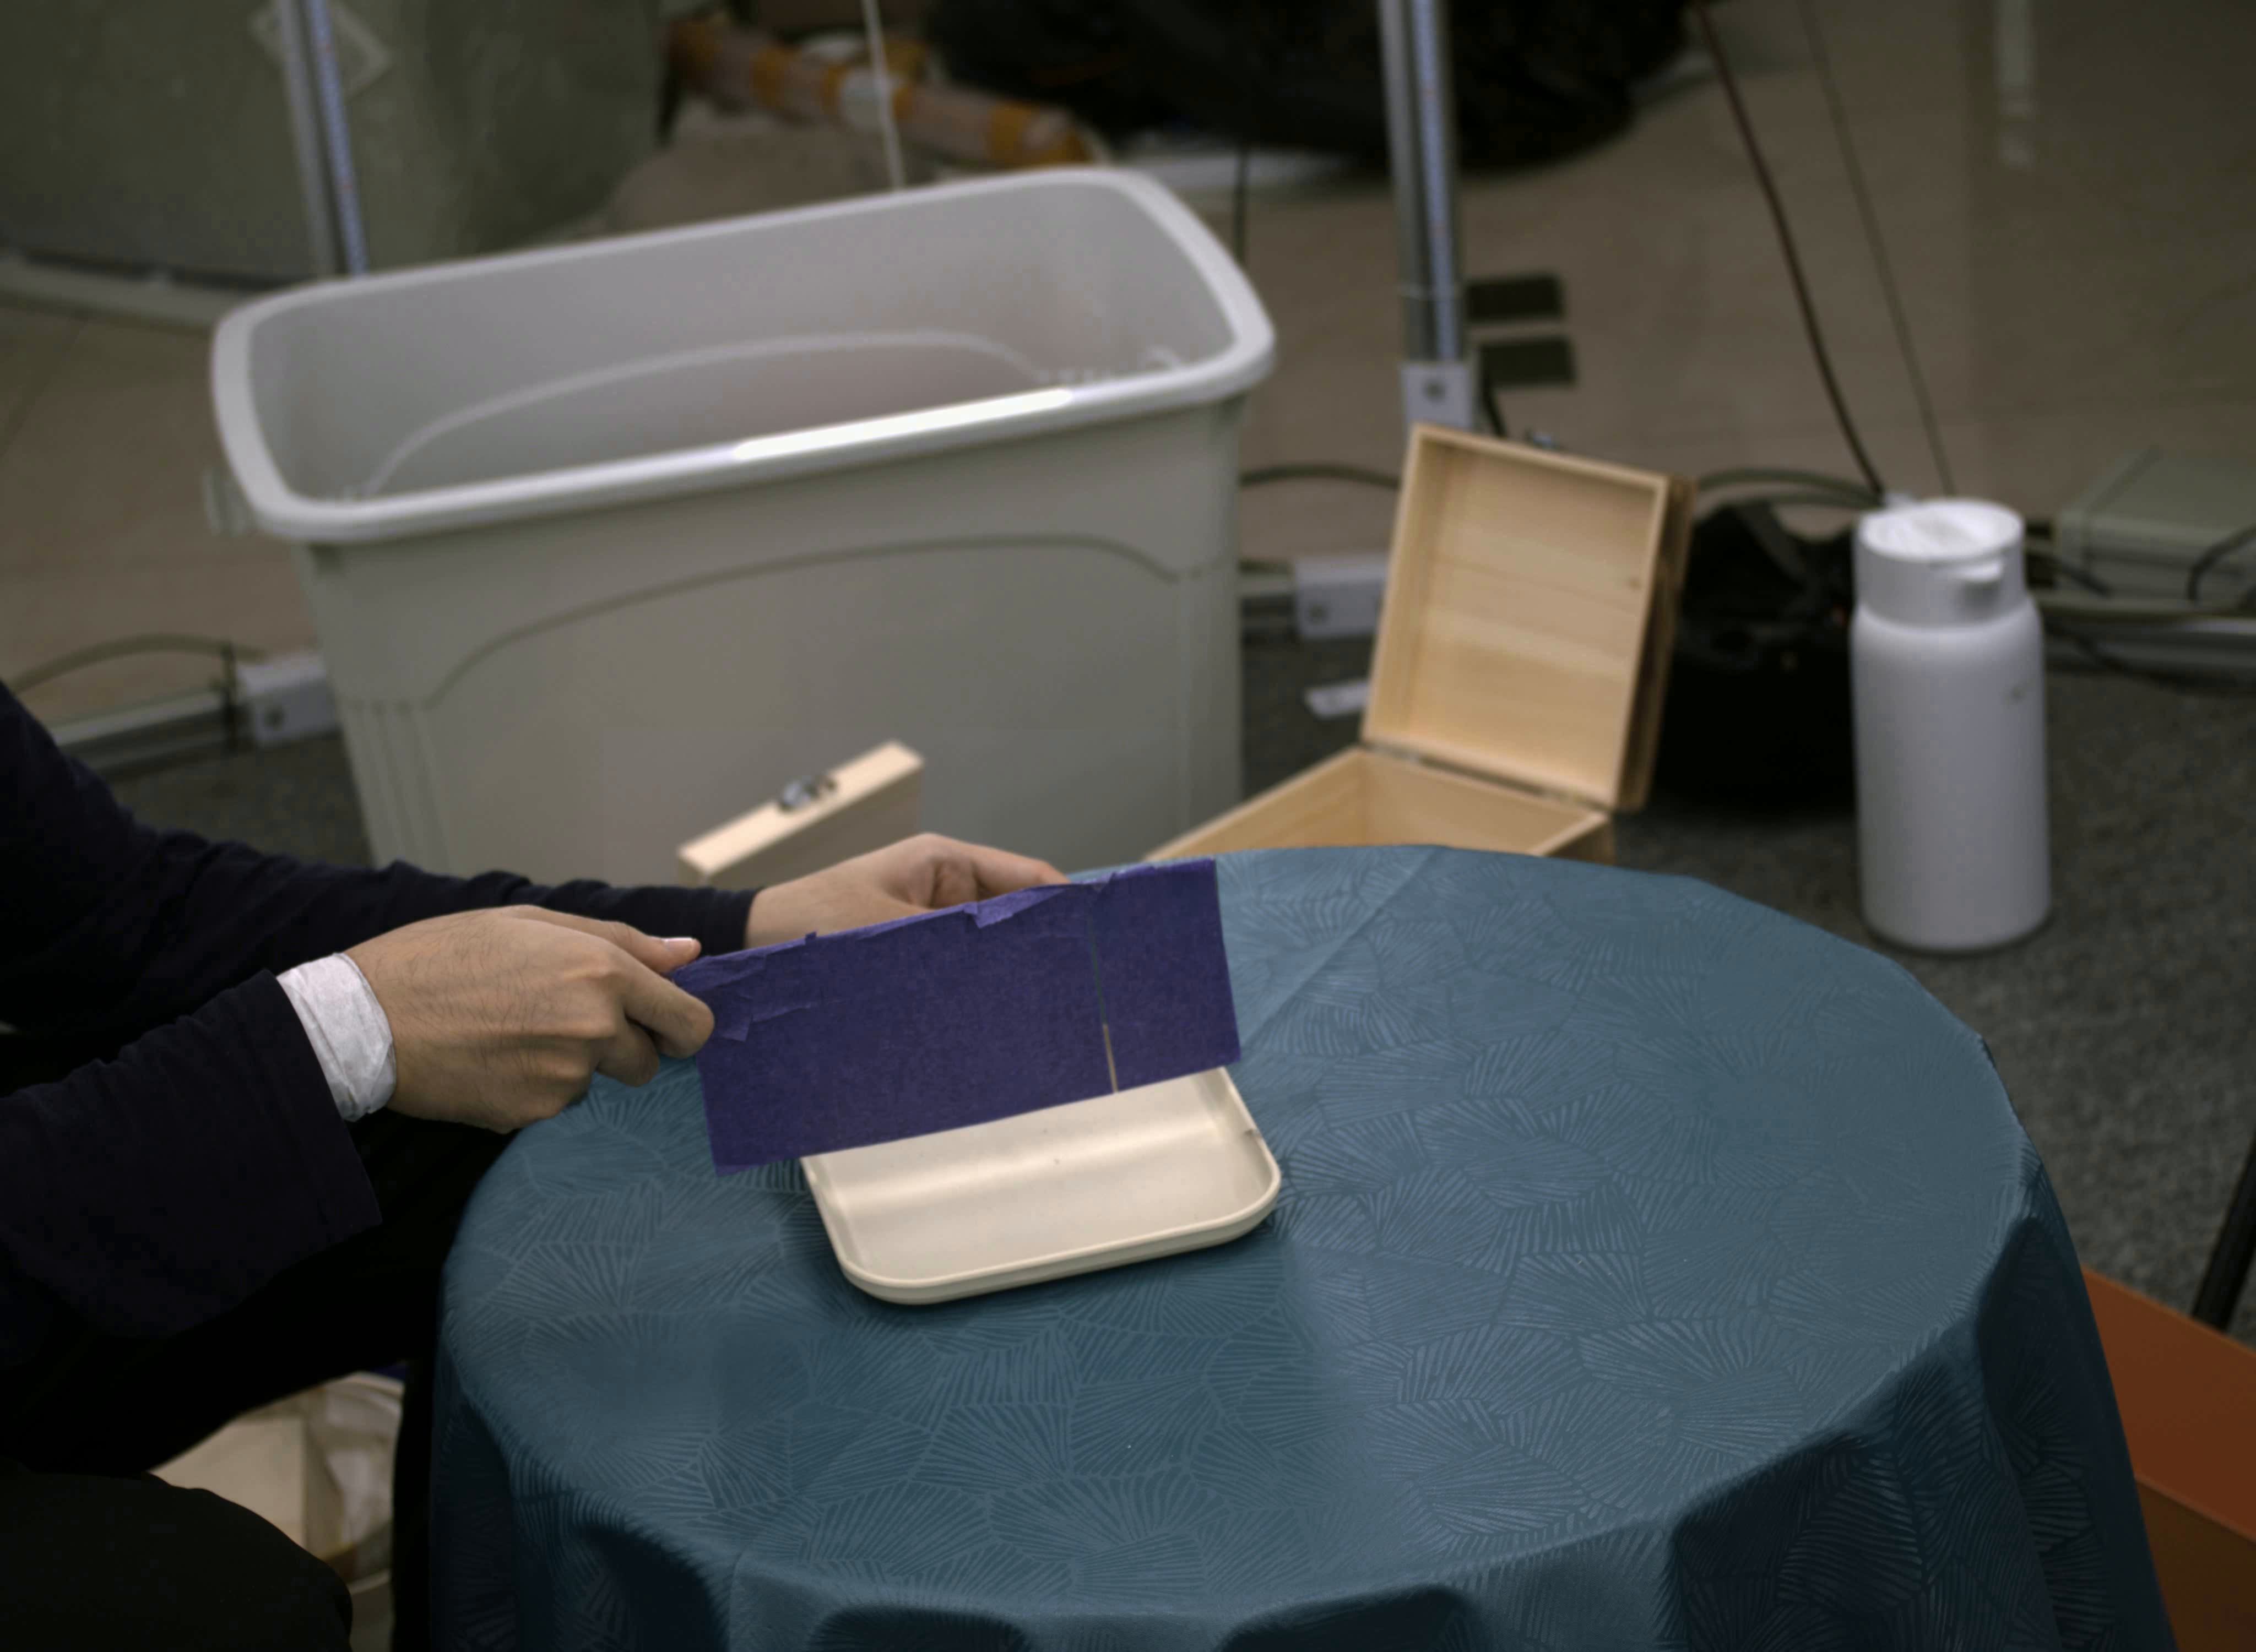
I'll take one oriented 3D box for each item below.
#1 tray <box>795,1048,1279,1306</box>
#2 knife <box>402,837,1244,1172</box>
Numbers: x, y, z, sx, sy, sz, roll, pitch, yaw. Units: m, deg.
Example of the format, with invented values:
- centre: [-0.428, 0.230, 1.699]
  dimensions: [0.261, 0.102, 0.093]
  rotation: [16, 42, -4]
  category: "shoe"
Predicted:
- centre: [-0.047, 0.111, 2.186]
  dimensions: [0.171, 0.018, 0.236]
  rotation: [-11, 29, -10]
  category: "tray"
- centre: [-0.109, 0.081, 2.117]
  dimensions: [0.314, 0.105, 0.032]
  rotation: [-11, 25, -8]
  category: "knife"
